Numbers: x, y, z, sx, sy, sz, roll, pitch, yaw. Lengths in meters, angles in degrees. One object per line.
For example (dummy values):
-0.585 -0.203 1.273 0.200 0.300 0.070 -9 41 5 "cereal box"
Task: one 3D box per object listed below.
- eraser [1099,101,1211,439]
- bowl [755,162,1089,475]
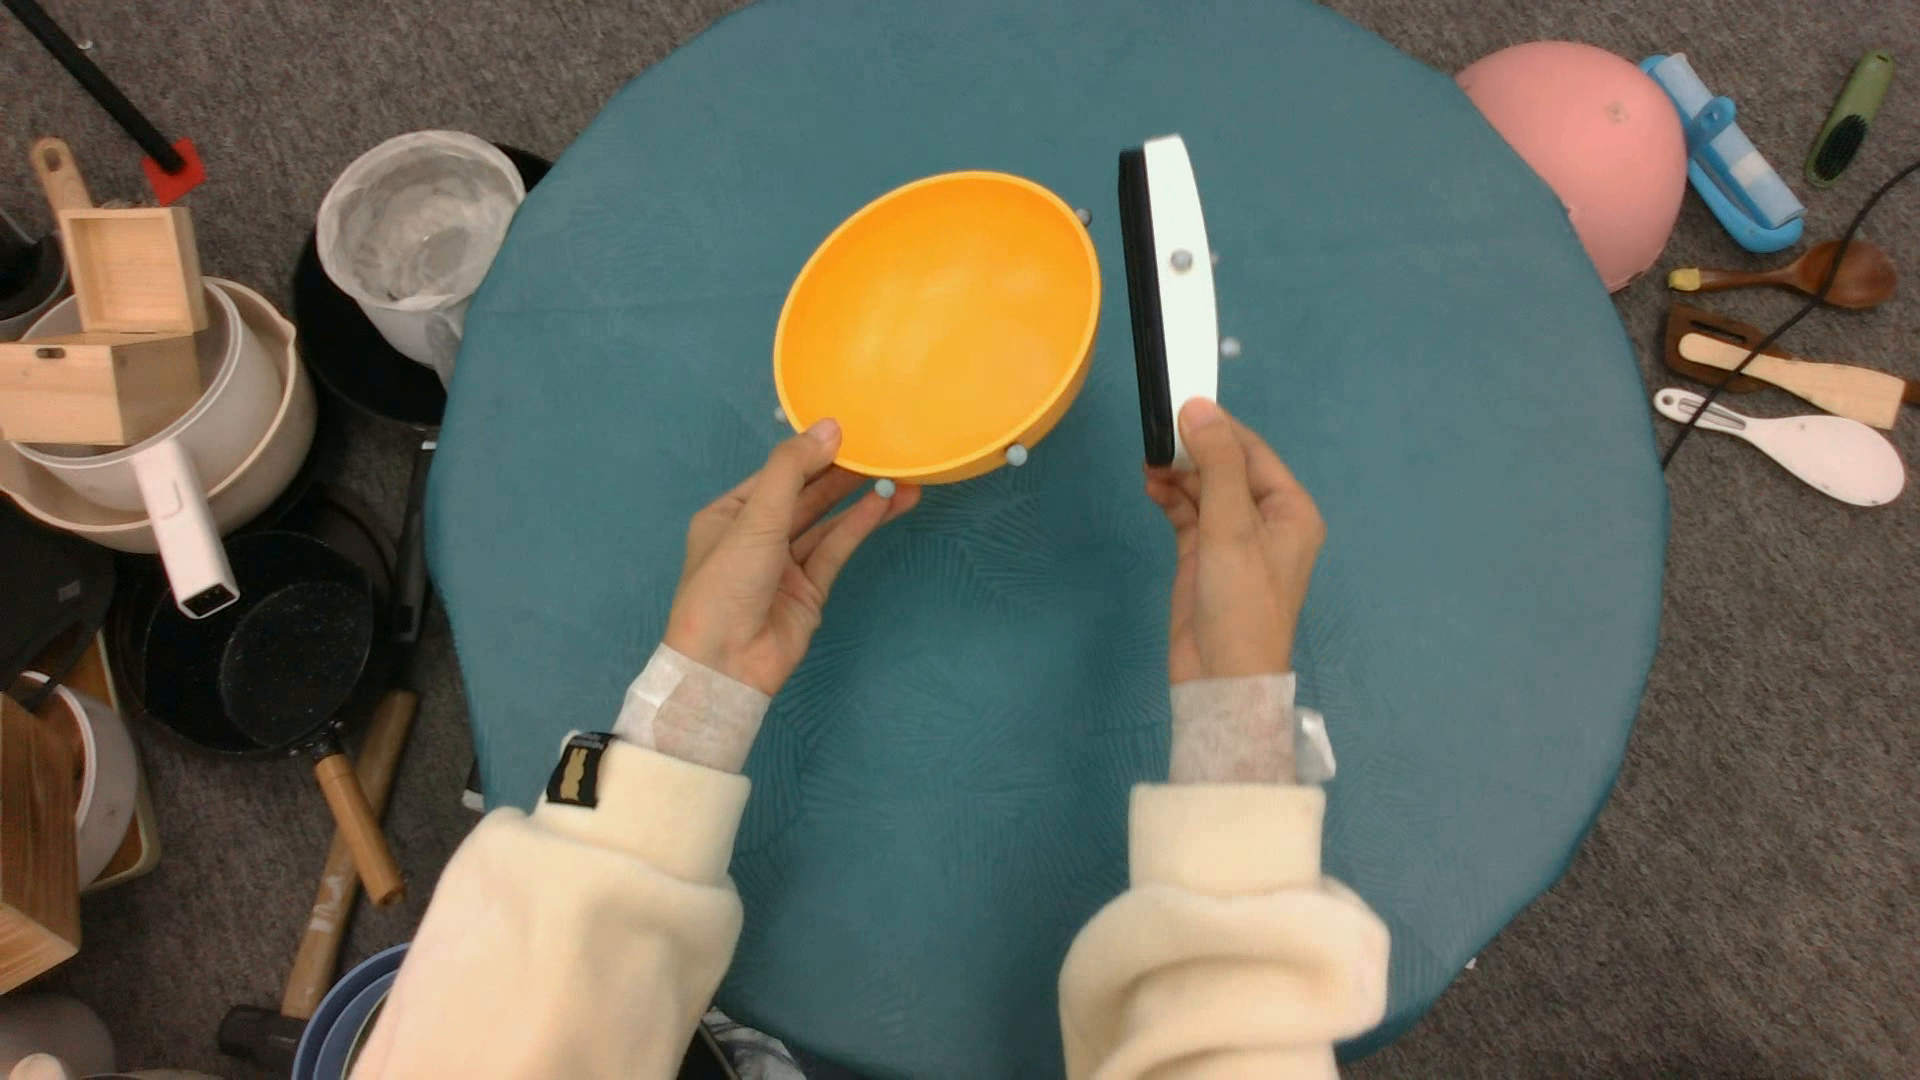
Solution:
0.080 -0.107 0.554 0.034 0.063 0.131 -7 83 6 "eraser"
-0.009 -0.084 0.584 0.145 0.060 0.146 -8 64 18 "bowl"
